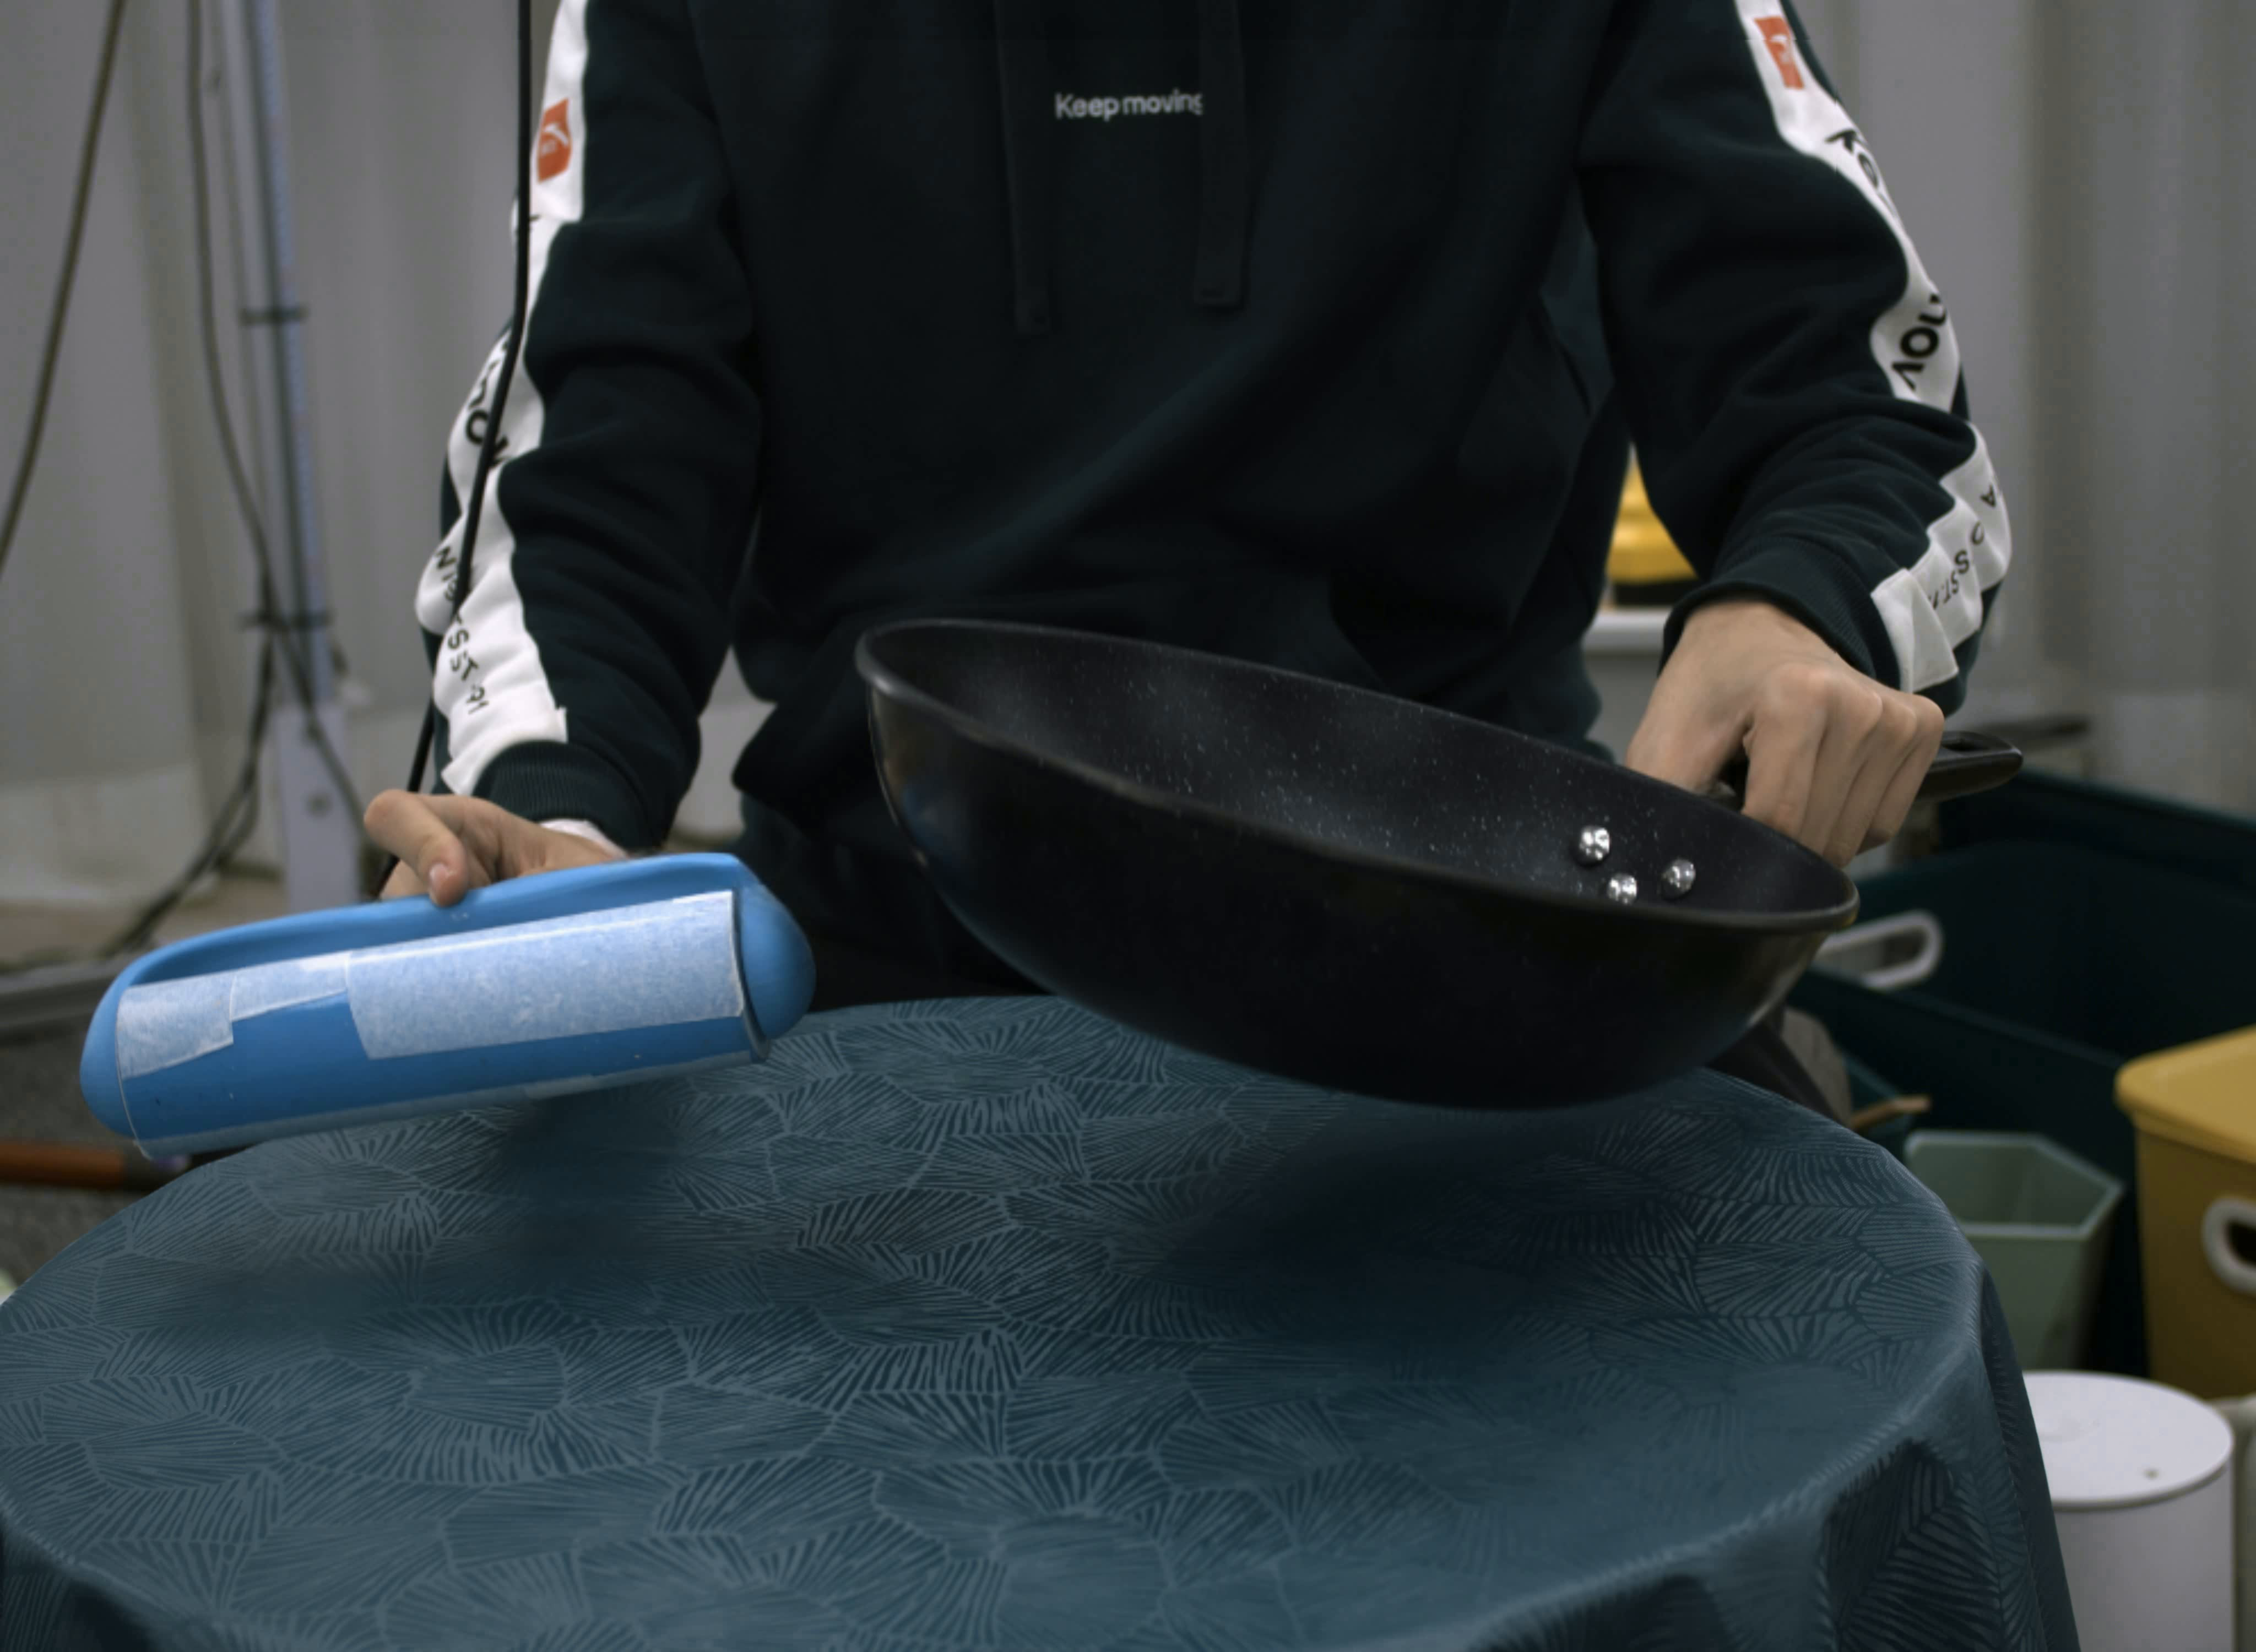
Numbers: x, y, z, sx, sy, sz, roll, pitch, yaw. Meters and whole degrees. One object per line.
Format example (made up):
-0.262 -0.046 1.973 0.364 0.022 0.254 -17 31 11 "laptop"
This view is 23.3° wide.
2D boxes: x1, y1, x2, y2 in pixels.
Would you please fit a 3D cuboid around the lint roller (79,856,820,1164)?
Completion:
-0.205 0.051 1.715 0.228 0.068 0.181 -11 8 3 "lint roller"

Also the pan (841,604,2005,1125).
0.114 0.013 1.692 0.473 0.111 0.313 4 16 -47 "pan"
